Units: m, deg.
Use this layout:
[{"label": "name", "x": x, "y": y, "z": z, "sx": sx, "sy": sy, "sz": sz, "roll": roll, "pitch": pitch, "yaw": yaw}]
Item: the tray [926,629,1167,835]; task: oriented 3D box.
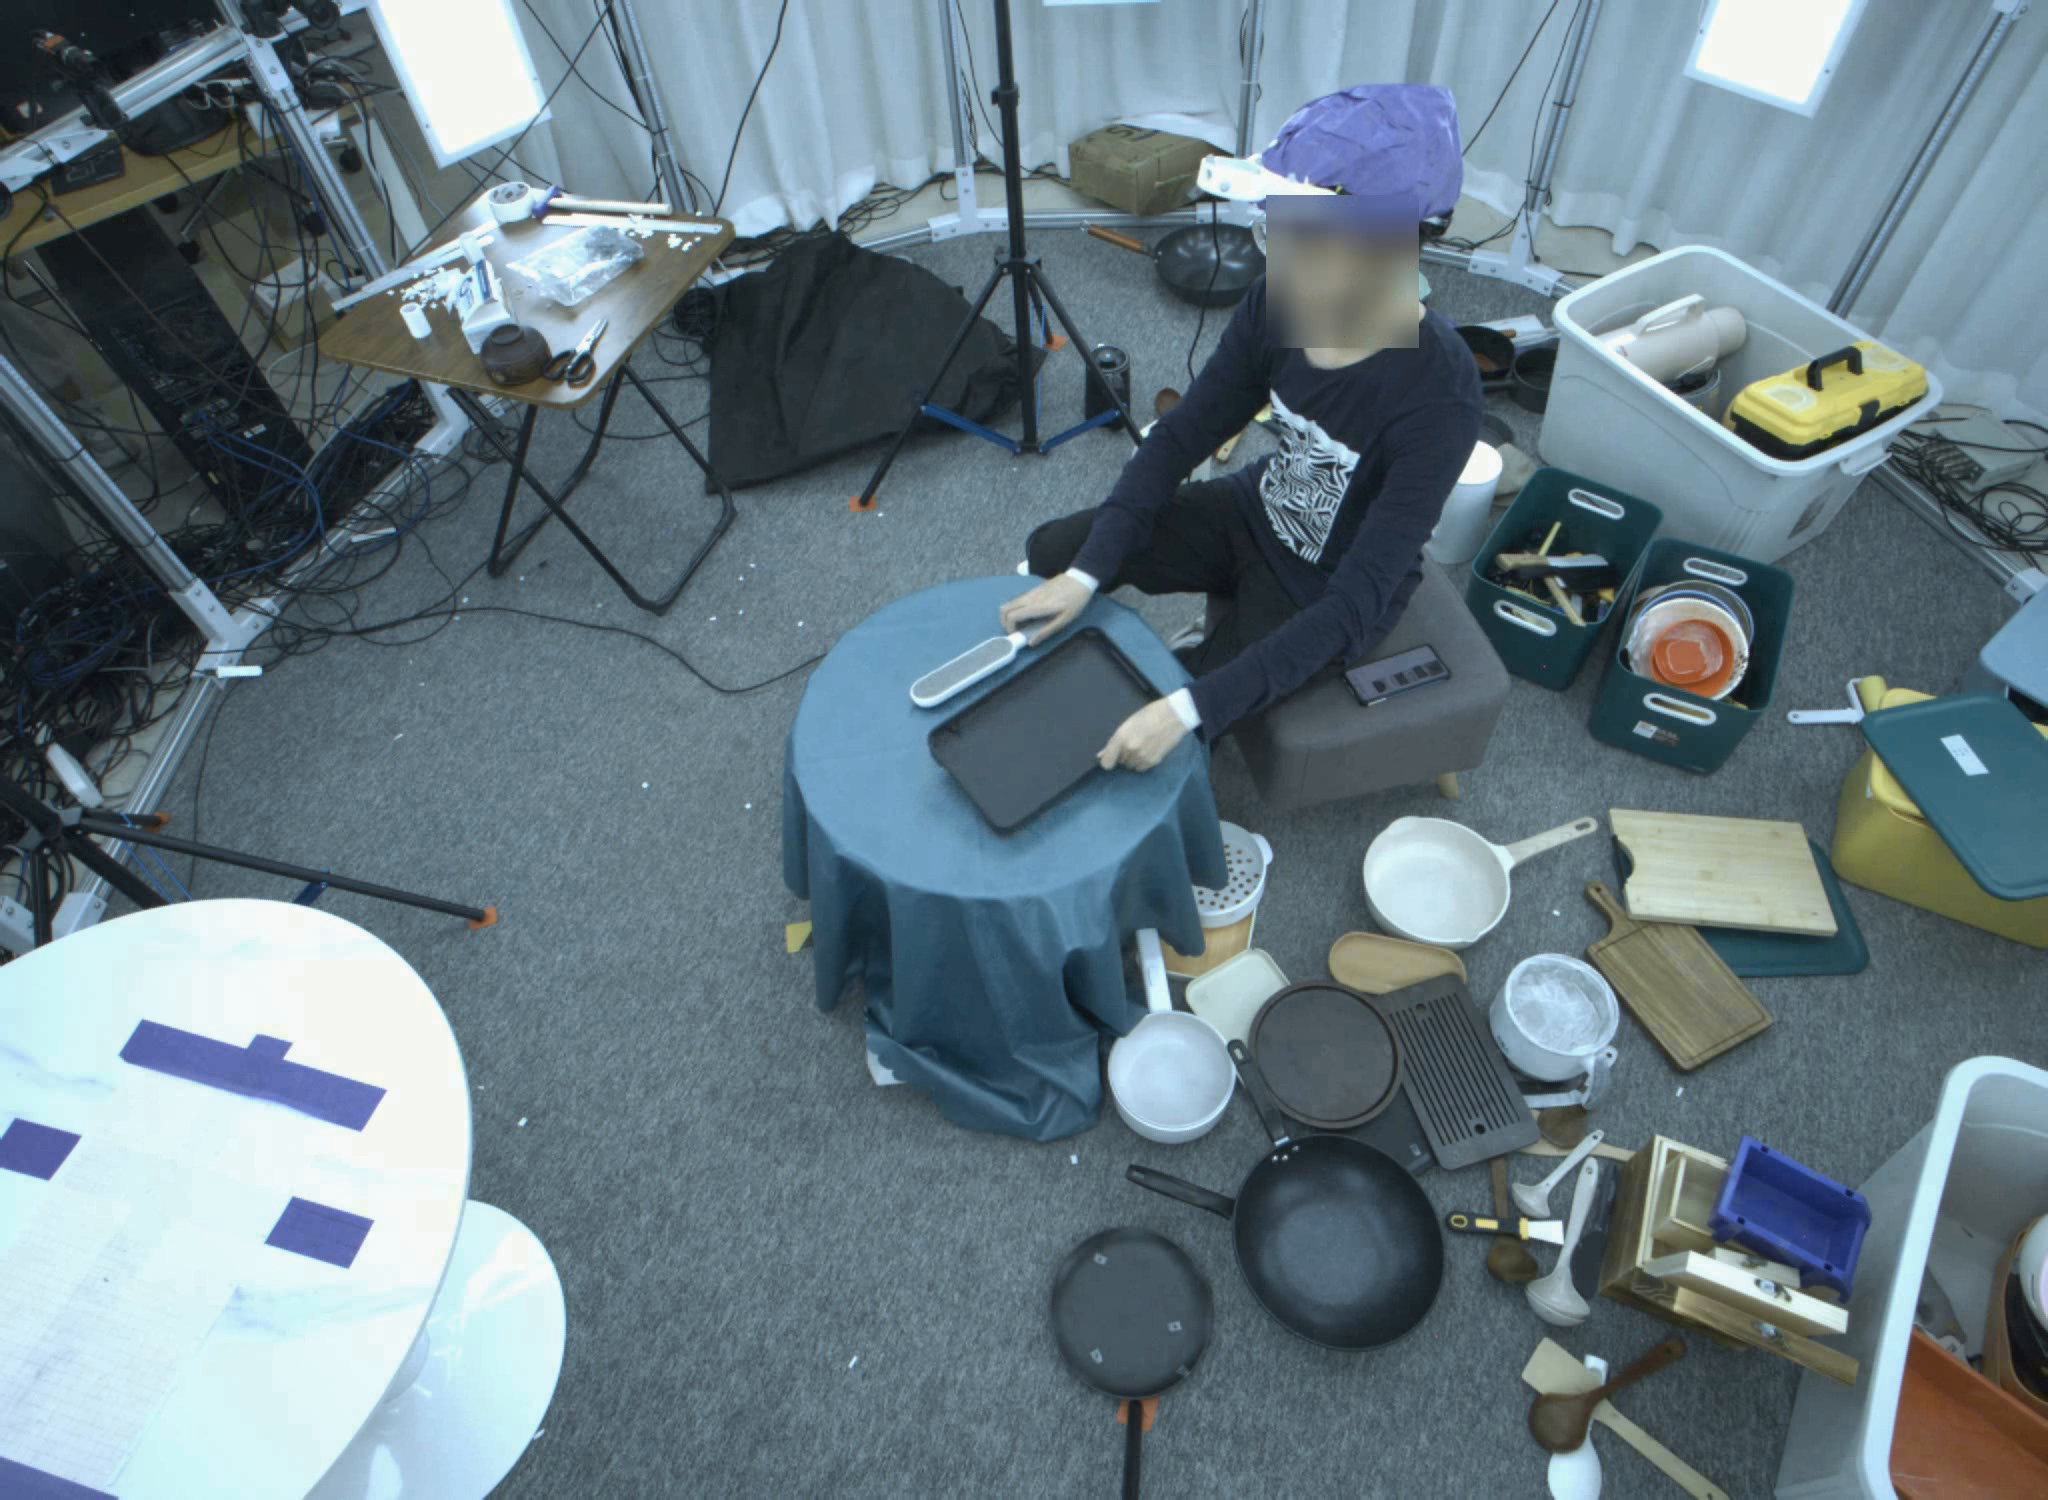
[{"label": "tray", "x": 0.033, "y": -0.030, "z": 1.758, "sx": 0.320, "sy": 0.037, "sz": 0.182, "roll": -34, "pitch": 73, "yaw": -19}]

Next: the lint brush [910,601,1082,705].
[{"label": "lint brush", "x": -0.039, "y": -0.151, "z": 1.881, "sx": 0.311, "sy": 0.021, "sz": 0.058, "roll": -31, "pitch": 45, "yaw": -17}]
